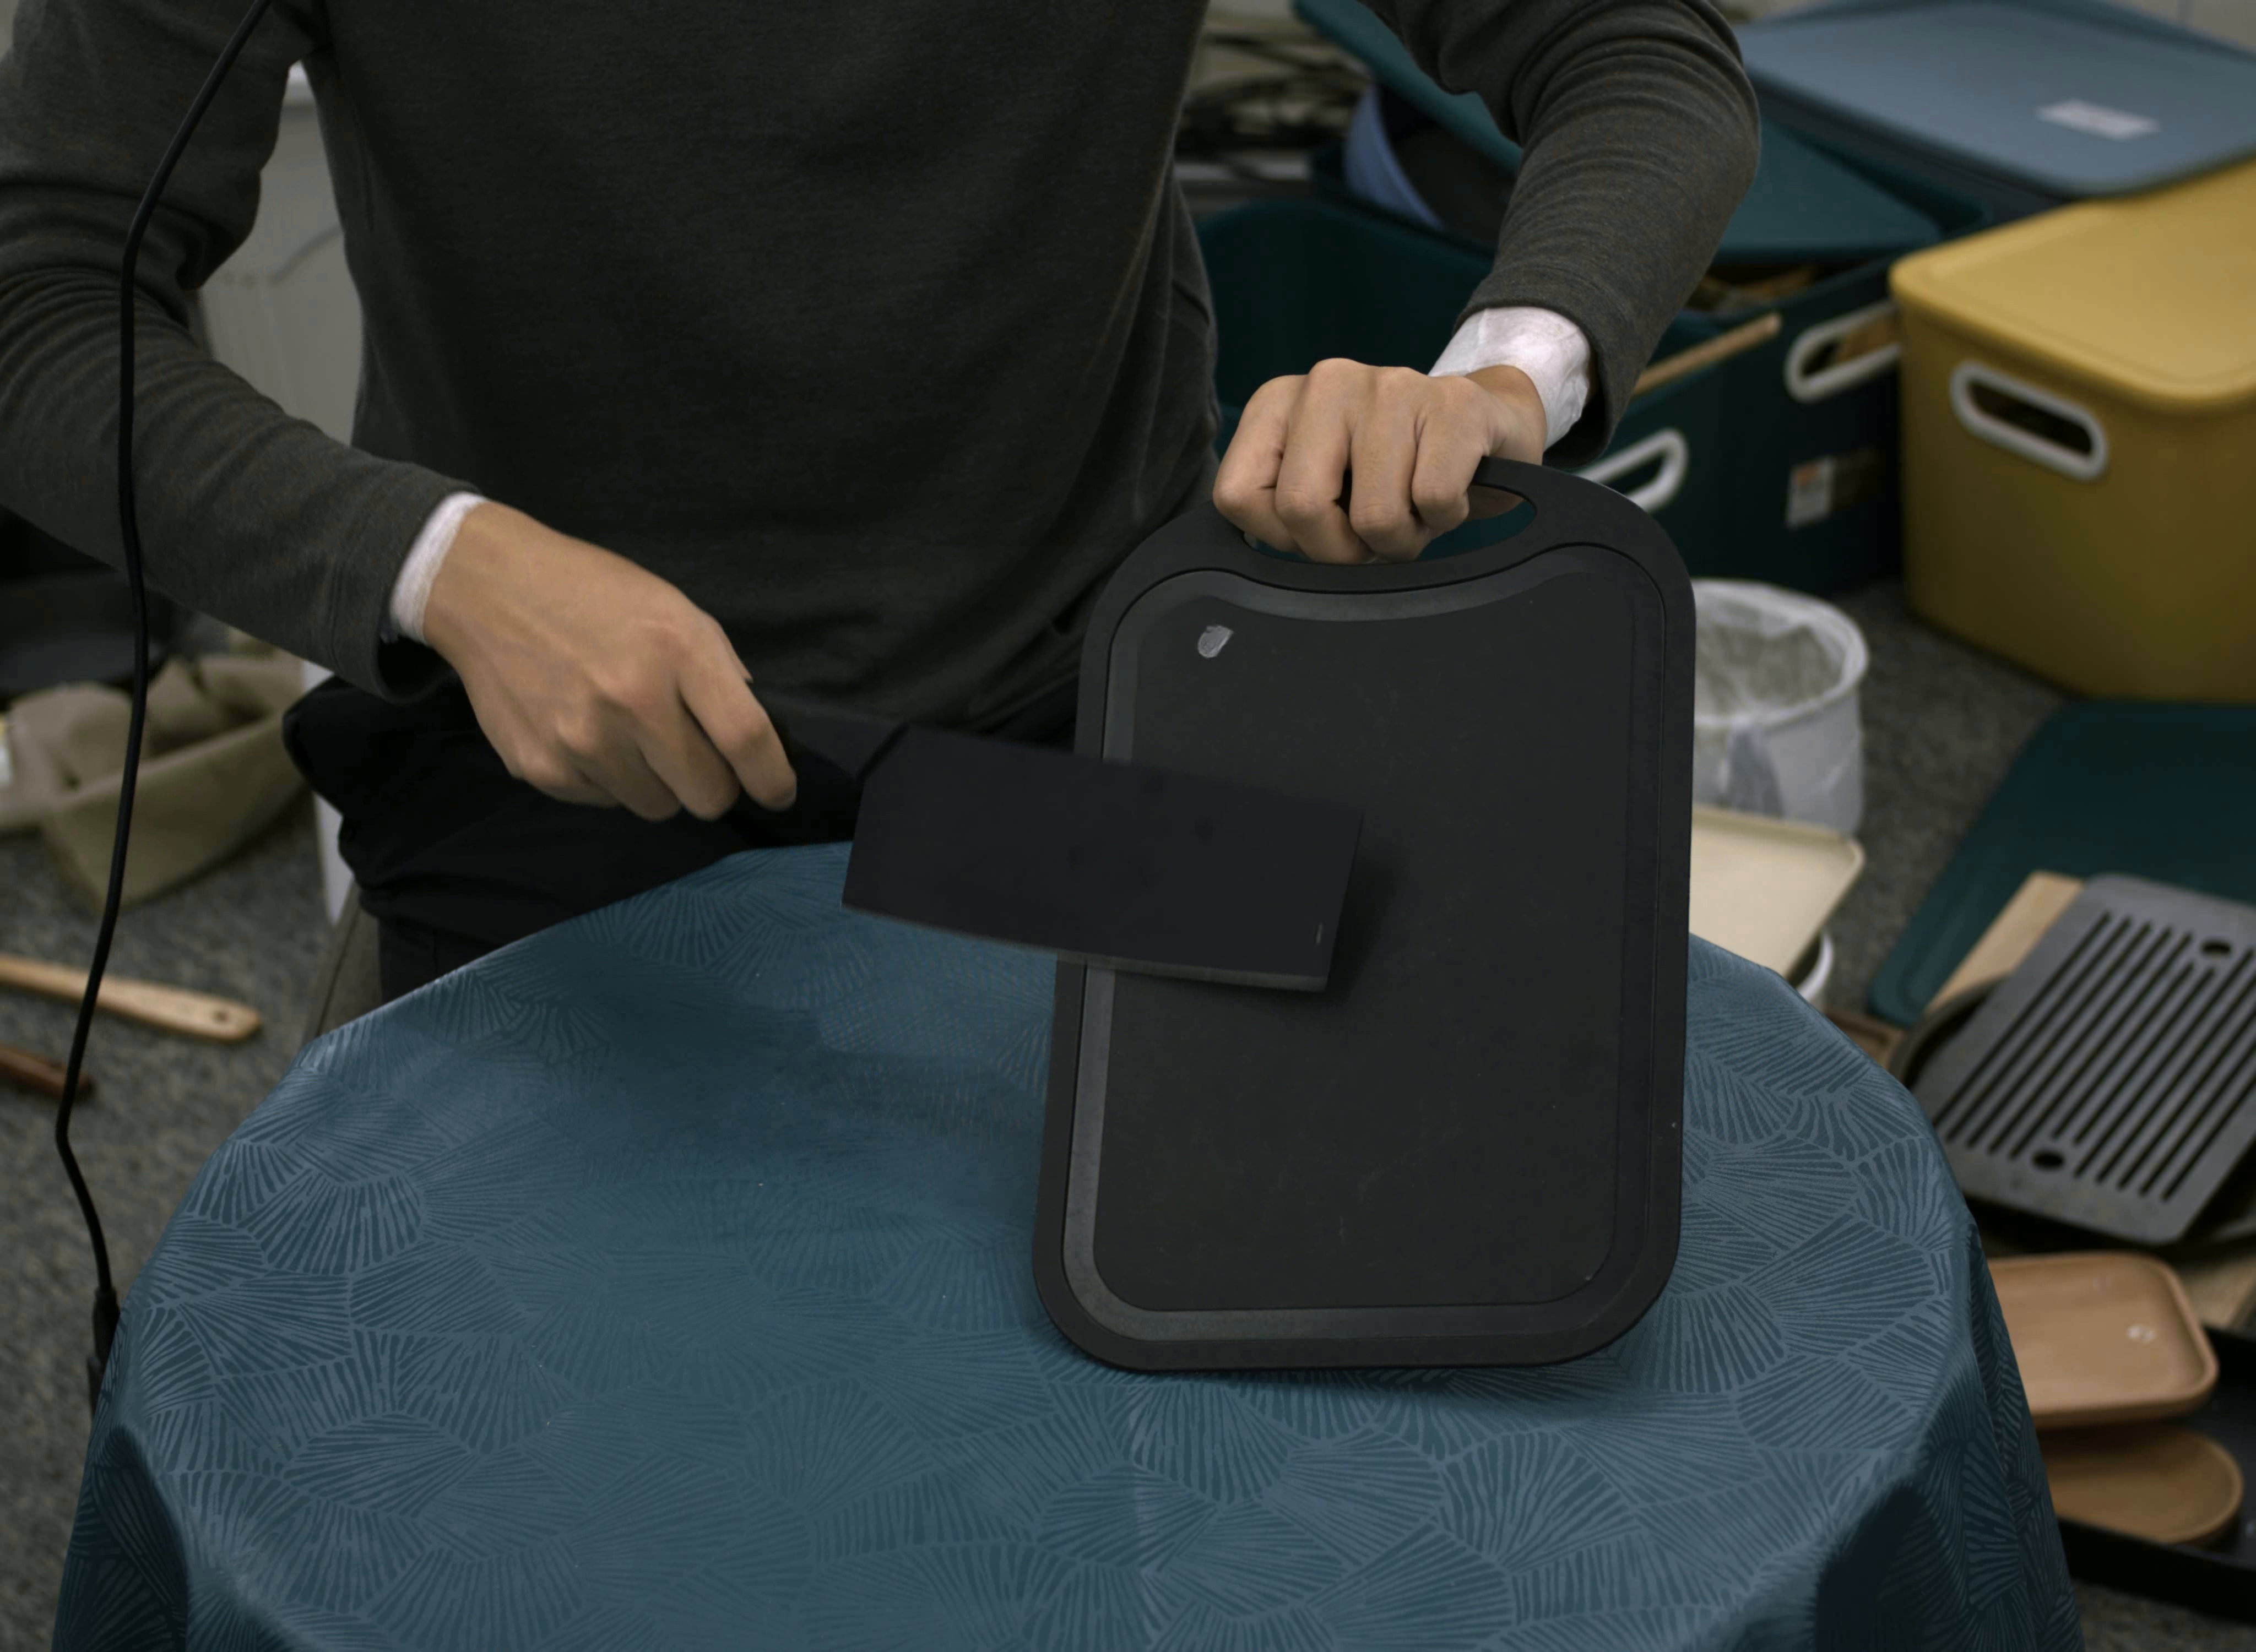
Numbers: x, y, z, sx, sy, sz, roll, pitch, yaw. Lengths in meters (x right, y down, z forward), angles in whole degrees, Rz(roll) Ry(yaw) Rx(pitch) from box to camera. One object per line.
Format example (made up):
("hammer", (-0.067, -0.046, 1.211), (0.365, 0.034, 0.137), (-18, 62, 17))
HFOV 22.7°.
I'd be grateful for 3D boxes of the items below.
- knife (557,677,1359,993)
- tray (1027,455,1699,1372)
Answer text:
("knife", (-0.062, -0.001, 1.866), (0.301, 0.081, 0.021), (15, -7, 27))
("tray", (0.077, 0.022, 1.821), (0.209, 0.009, 0.331), (-2, 62, 14))
